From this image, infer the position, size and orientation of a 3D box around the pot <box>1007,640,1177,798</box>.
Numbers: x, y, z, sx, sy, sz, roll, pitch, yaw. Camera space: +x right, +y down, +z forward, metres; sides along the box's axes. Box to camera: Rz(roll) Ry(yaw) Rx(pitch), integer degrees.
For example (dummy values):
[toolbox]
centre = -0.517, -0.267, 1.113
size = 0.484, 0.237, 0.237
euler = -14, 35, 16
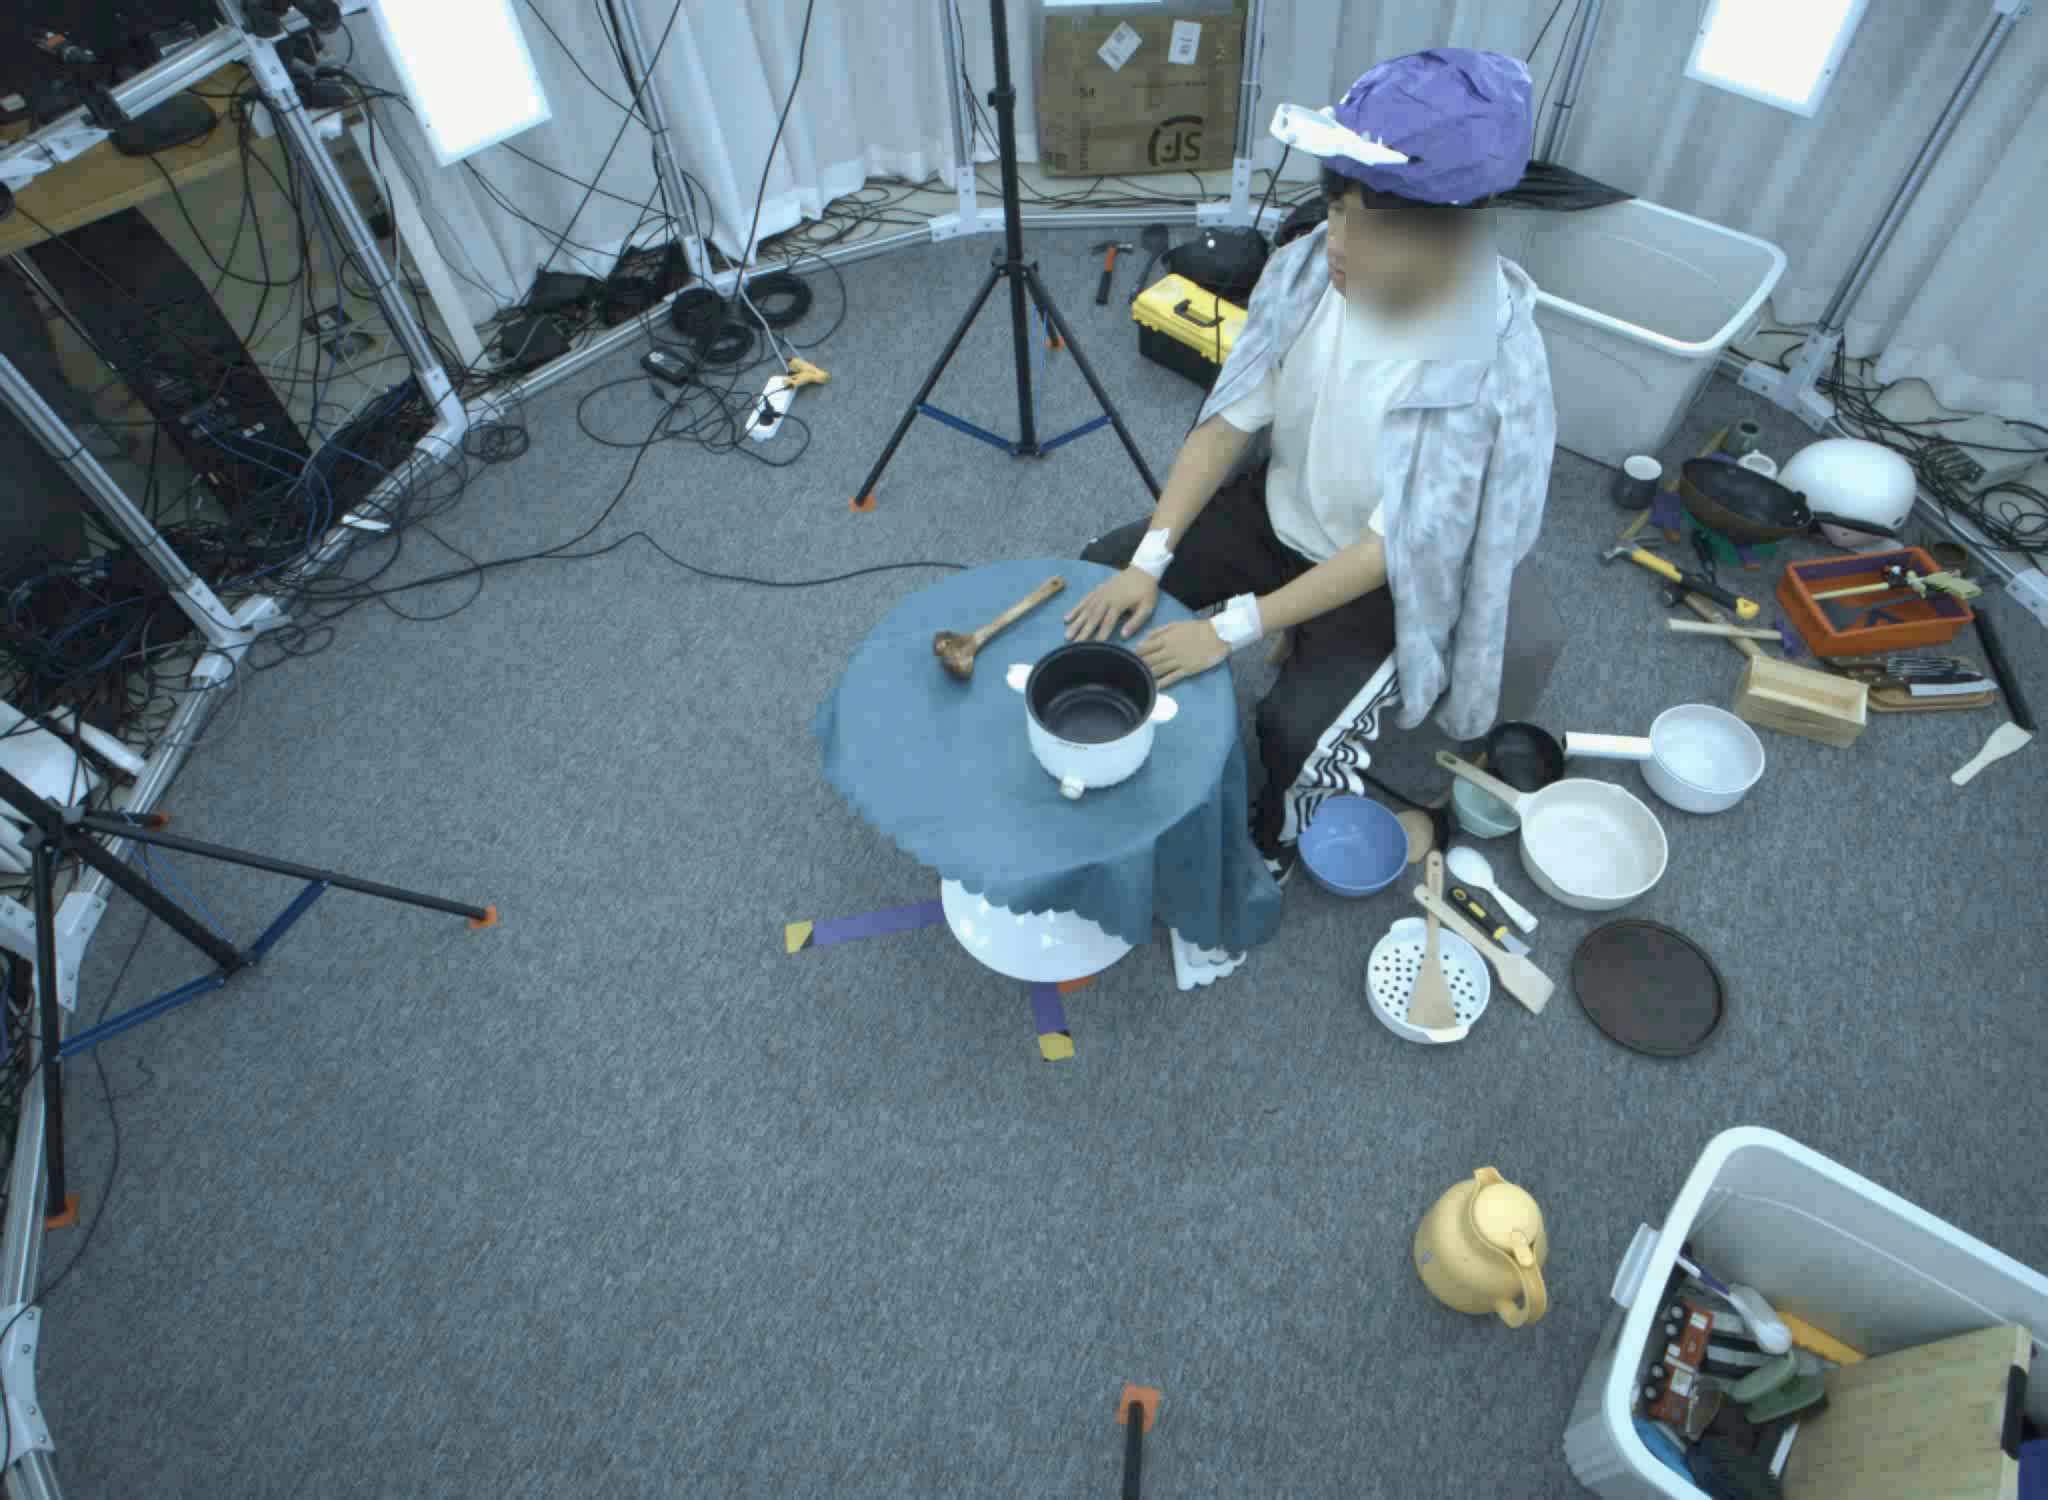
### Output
[pot]
centre = 0.094, -0.039, 1.728
size = 0.238, 0.144, 0.190
euler = 13, 53, 12

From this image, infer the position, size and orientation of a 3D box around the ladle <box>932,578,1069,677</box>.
[ladle]
centre = -0.028, -0.202, 1.890
size = 0.276, 0.075, 0.082
euler = -35, 101, -22
